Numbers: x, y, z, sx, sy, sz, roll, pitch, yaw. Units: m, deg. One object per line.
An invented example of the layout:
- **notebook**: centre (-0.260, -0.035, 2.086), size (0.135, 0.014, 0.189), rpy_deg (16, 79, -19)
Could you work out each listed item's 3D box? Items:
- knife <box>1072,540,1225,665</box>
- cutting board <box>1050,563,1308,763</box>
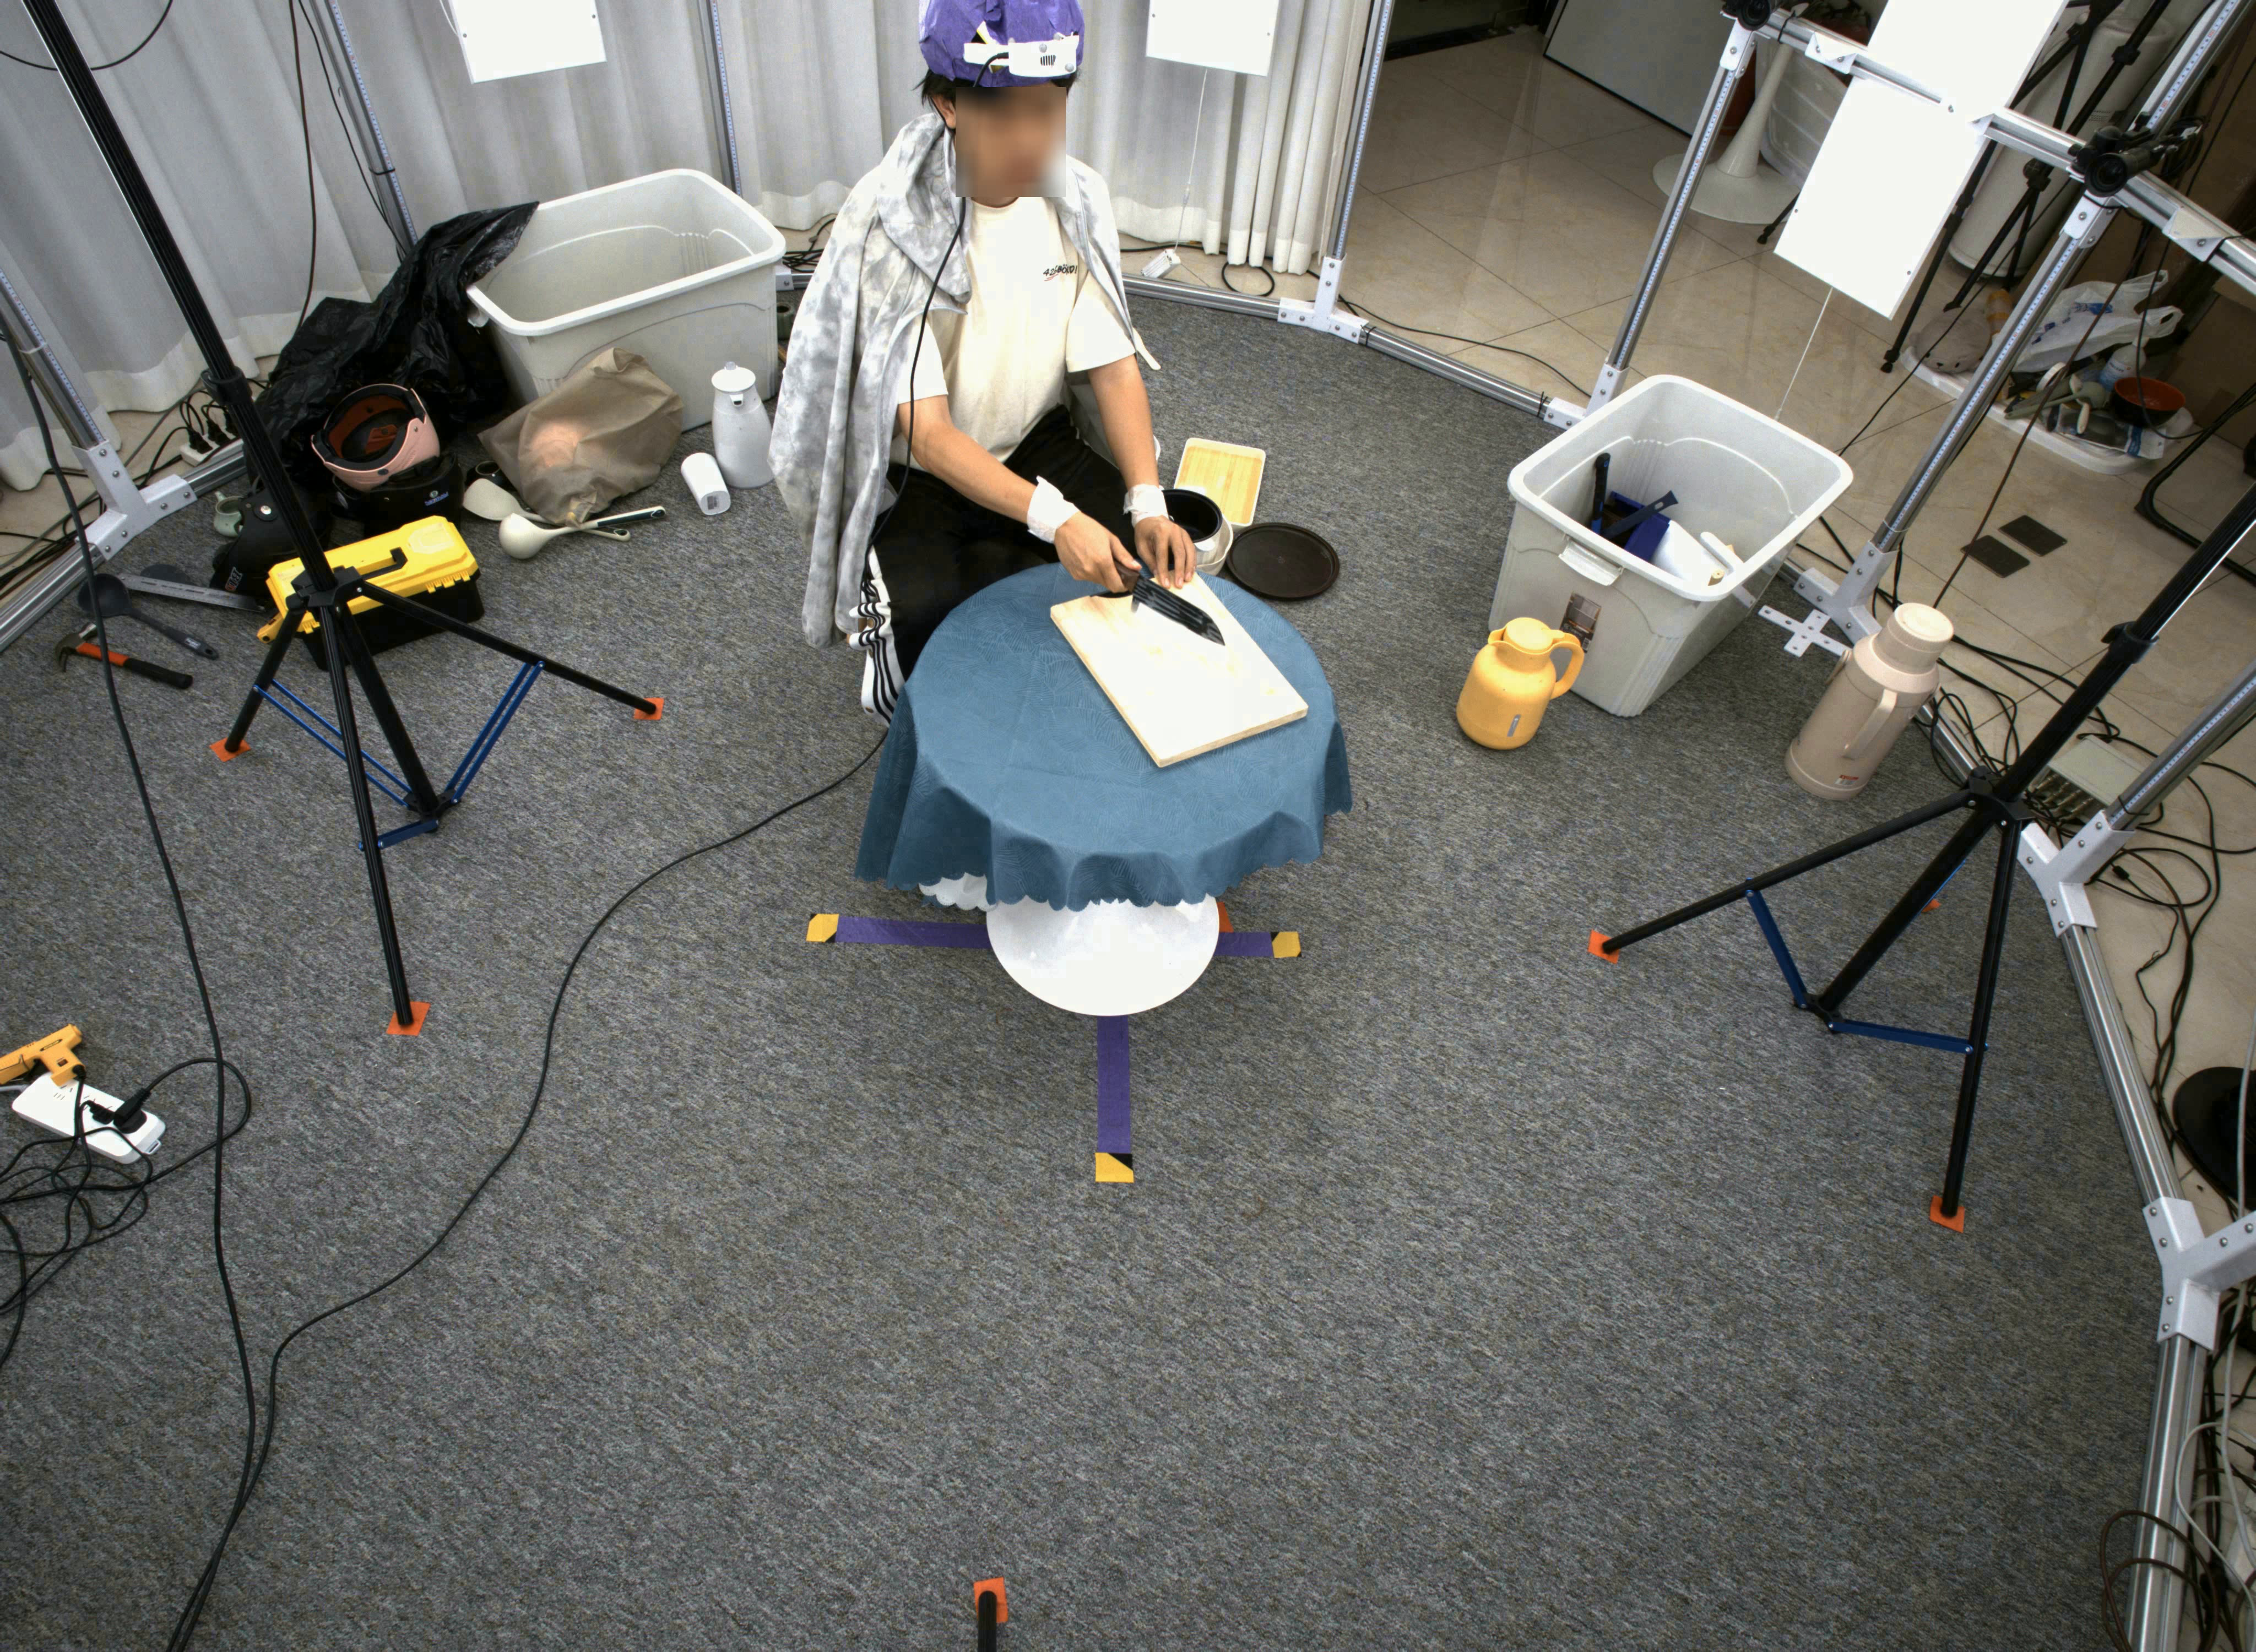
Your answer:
- **knife**: centre (0.029, -0.323, 1.855), size (0.303, 0.066, 0.024), rpy_deg (35, 39, 25)
- **cutting board**: centre (0.067, -0.245, 1.869), size (0.251, 0.023, 0.356), rpy_deg (-20, 53, -21)
